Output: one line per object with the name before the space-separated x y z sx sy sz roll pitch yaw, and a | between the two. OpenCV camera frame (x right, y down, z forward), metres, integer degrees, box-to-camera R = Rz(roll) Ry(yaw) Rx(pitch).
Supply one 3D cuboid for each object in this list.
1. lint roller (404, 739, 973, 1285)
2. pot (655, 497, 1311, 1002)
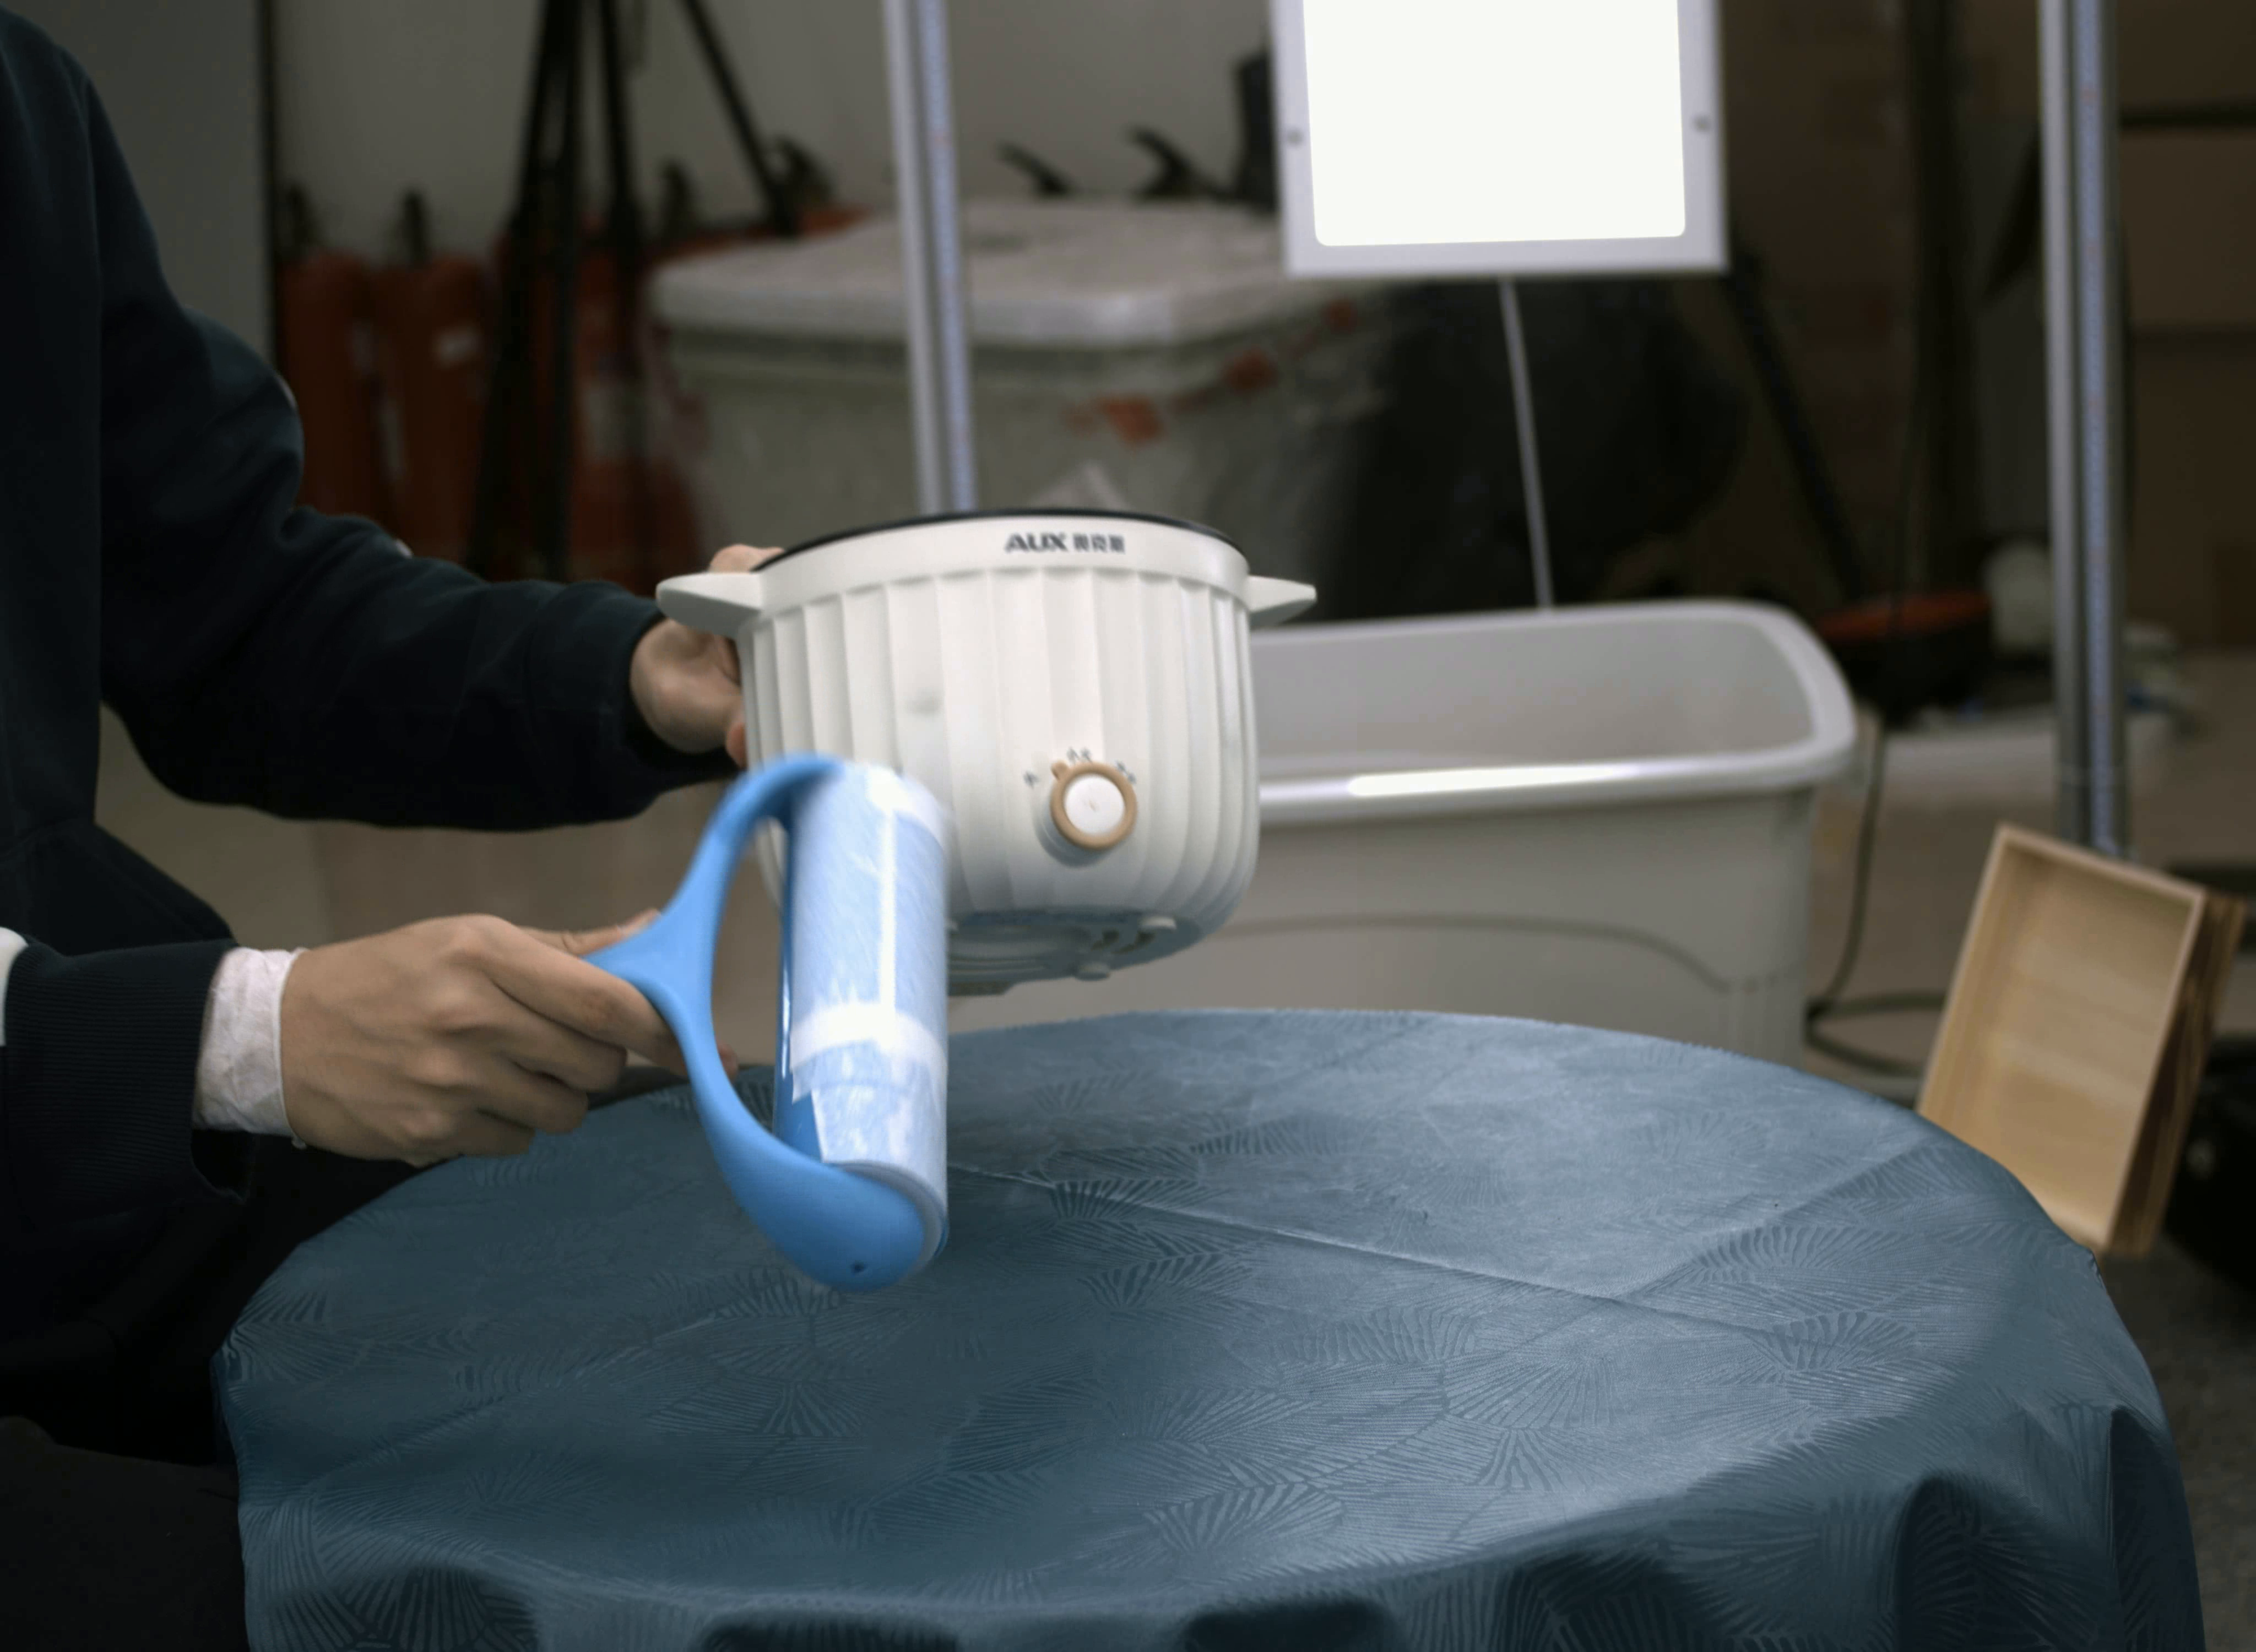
lint roller | -0.140 0.063 1.723 0.179 0.068 0.229 -7 41 -2
pot | -0.041 -0.024 1.913 0.236 0.143 0.193 -1 -17 -17
